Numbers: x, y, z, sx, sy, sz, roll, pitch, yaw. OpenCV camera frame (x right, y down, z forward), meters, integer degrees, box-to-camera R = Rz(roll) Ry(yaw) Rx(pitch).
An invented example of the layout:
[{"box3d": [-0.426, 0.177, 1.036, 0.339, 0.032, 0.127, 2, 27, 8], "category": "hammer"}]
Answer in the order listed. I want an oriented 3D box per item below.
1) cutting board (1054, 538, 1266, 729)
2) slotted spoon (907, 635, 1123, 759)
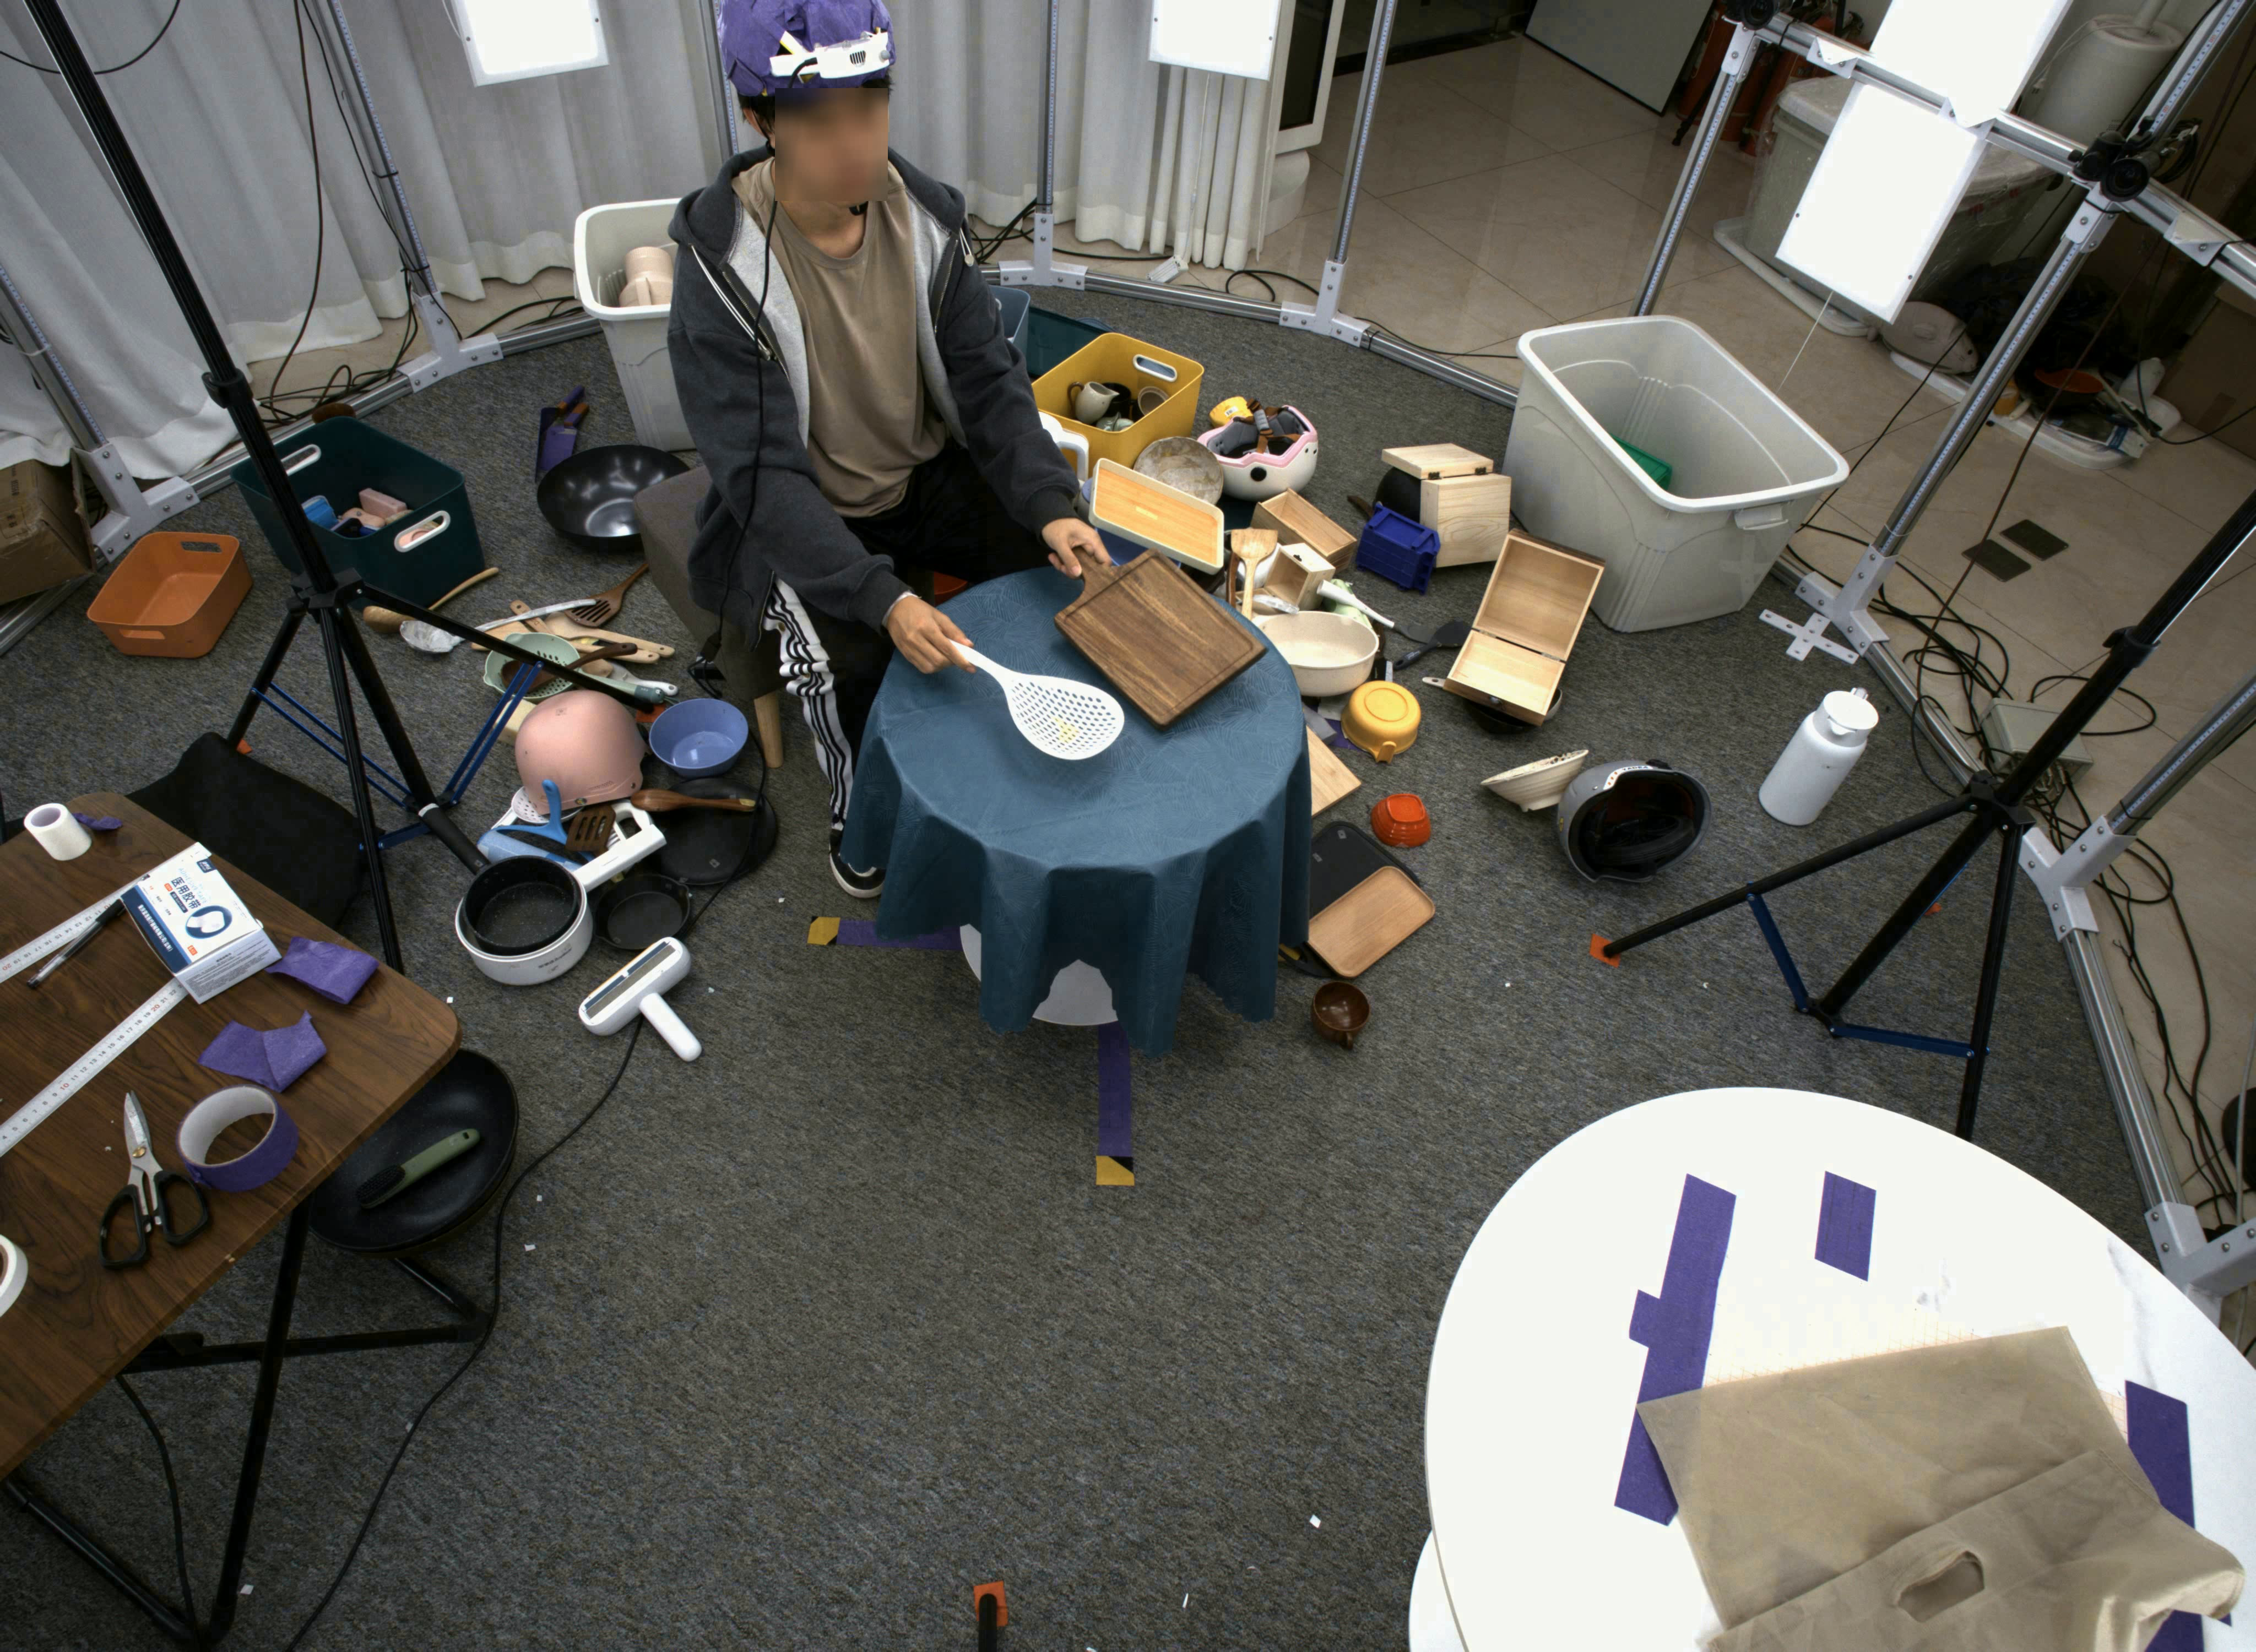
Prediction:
[{"box3d": [0.013, -0.308, 1.865, 0.202, 0.023, 0.358, -37, 64, -14], "category": "cutting board"}, {"box3d": [-0.164, -0.193, 1.756, 0.351, 0.049, 0.138, 34, 58, 18], "category": "slotted spoon"}]
